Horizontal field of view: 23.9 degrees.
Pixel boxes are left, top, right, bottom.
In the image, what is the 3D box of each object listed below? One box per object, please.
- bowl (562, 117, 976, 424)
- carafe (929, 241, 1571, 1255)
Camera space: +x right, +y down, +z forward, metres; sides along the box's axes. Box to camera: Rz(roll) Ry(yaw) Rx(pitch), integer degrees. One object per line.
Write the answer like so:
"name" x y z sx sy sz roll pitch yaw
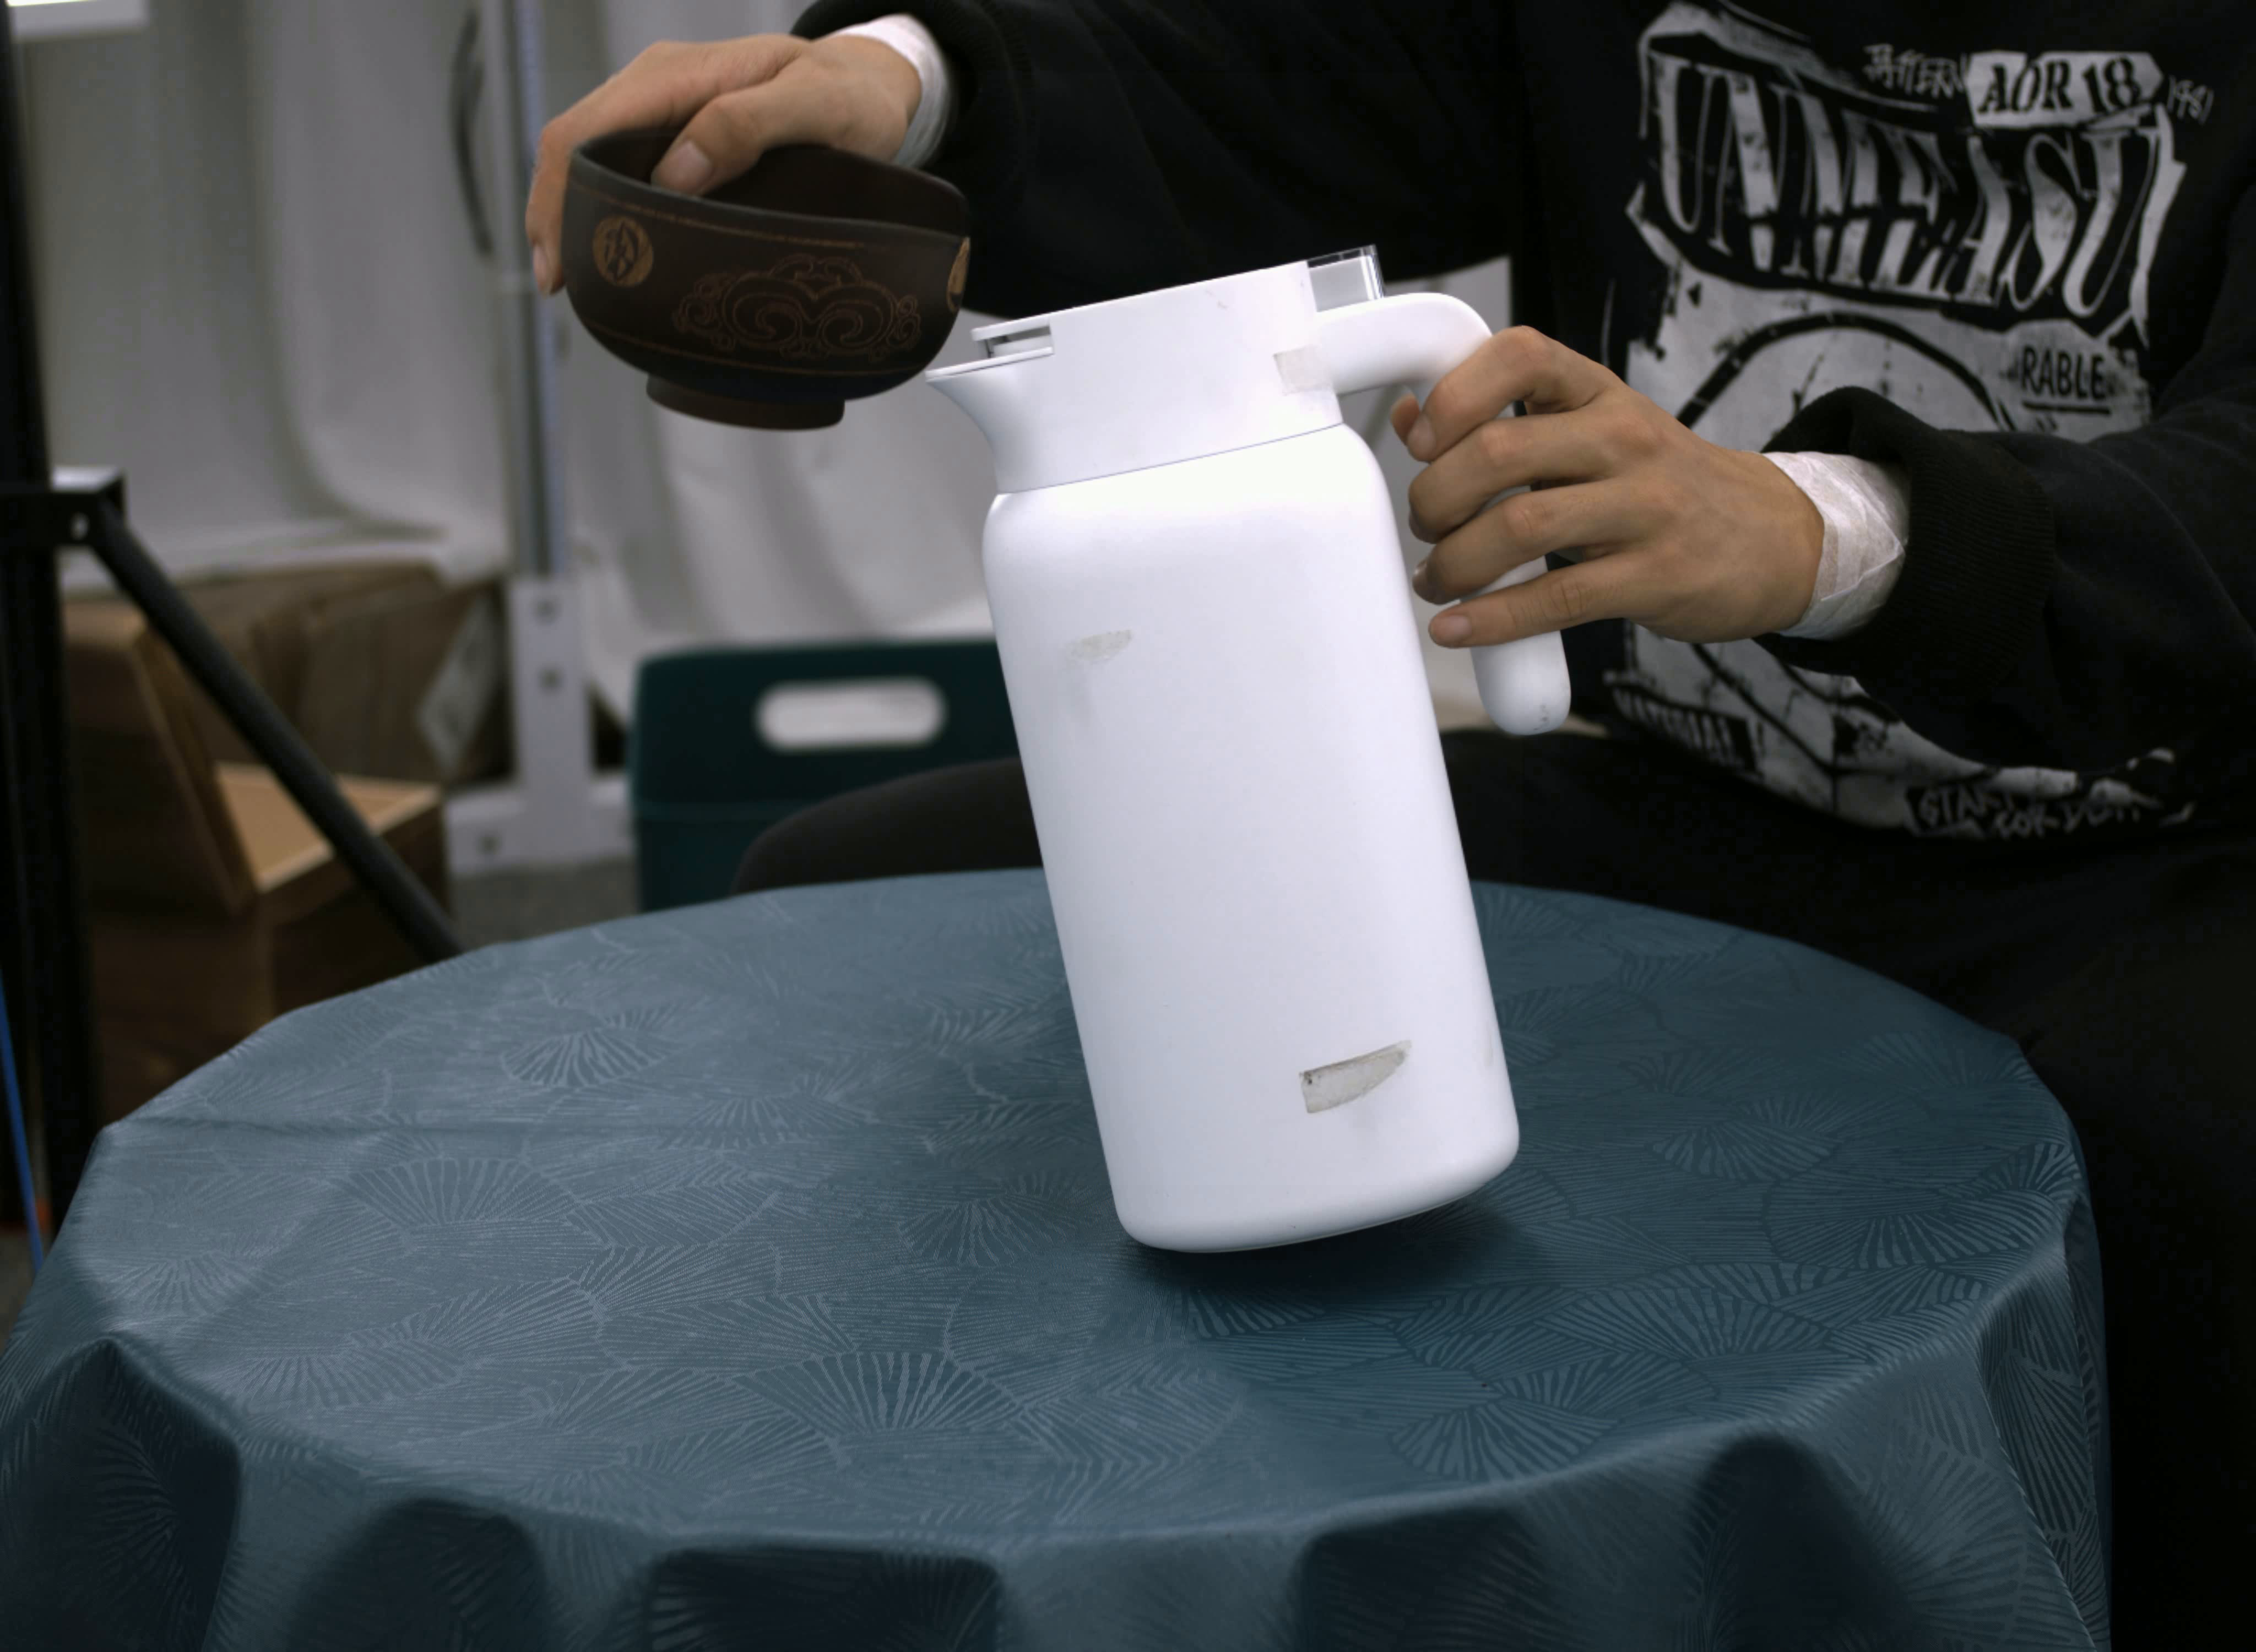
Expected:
"bowl" -0.105 -0.156 1.531 0.117 0.070 0.119 6 18 -3
"carafe" 0.045 -0.025 1.500 0.169 0.270 0.126 -14 3 -24
